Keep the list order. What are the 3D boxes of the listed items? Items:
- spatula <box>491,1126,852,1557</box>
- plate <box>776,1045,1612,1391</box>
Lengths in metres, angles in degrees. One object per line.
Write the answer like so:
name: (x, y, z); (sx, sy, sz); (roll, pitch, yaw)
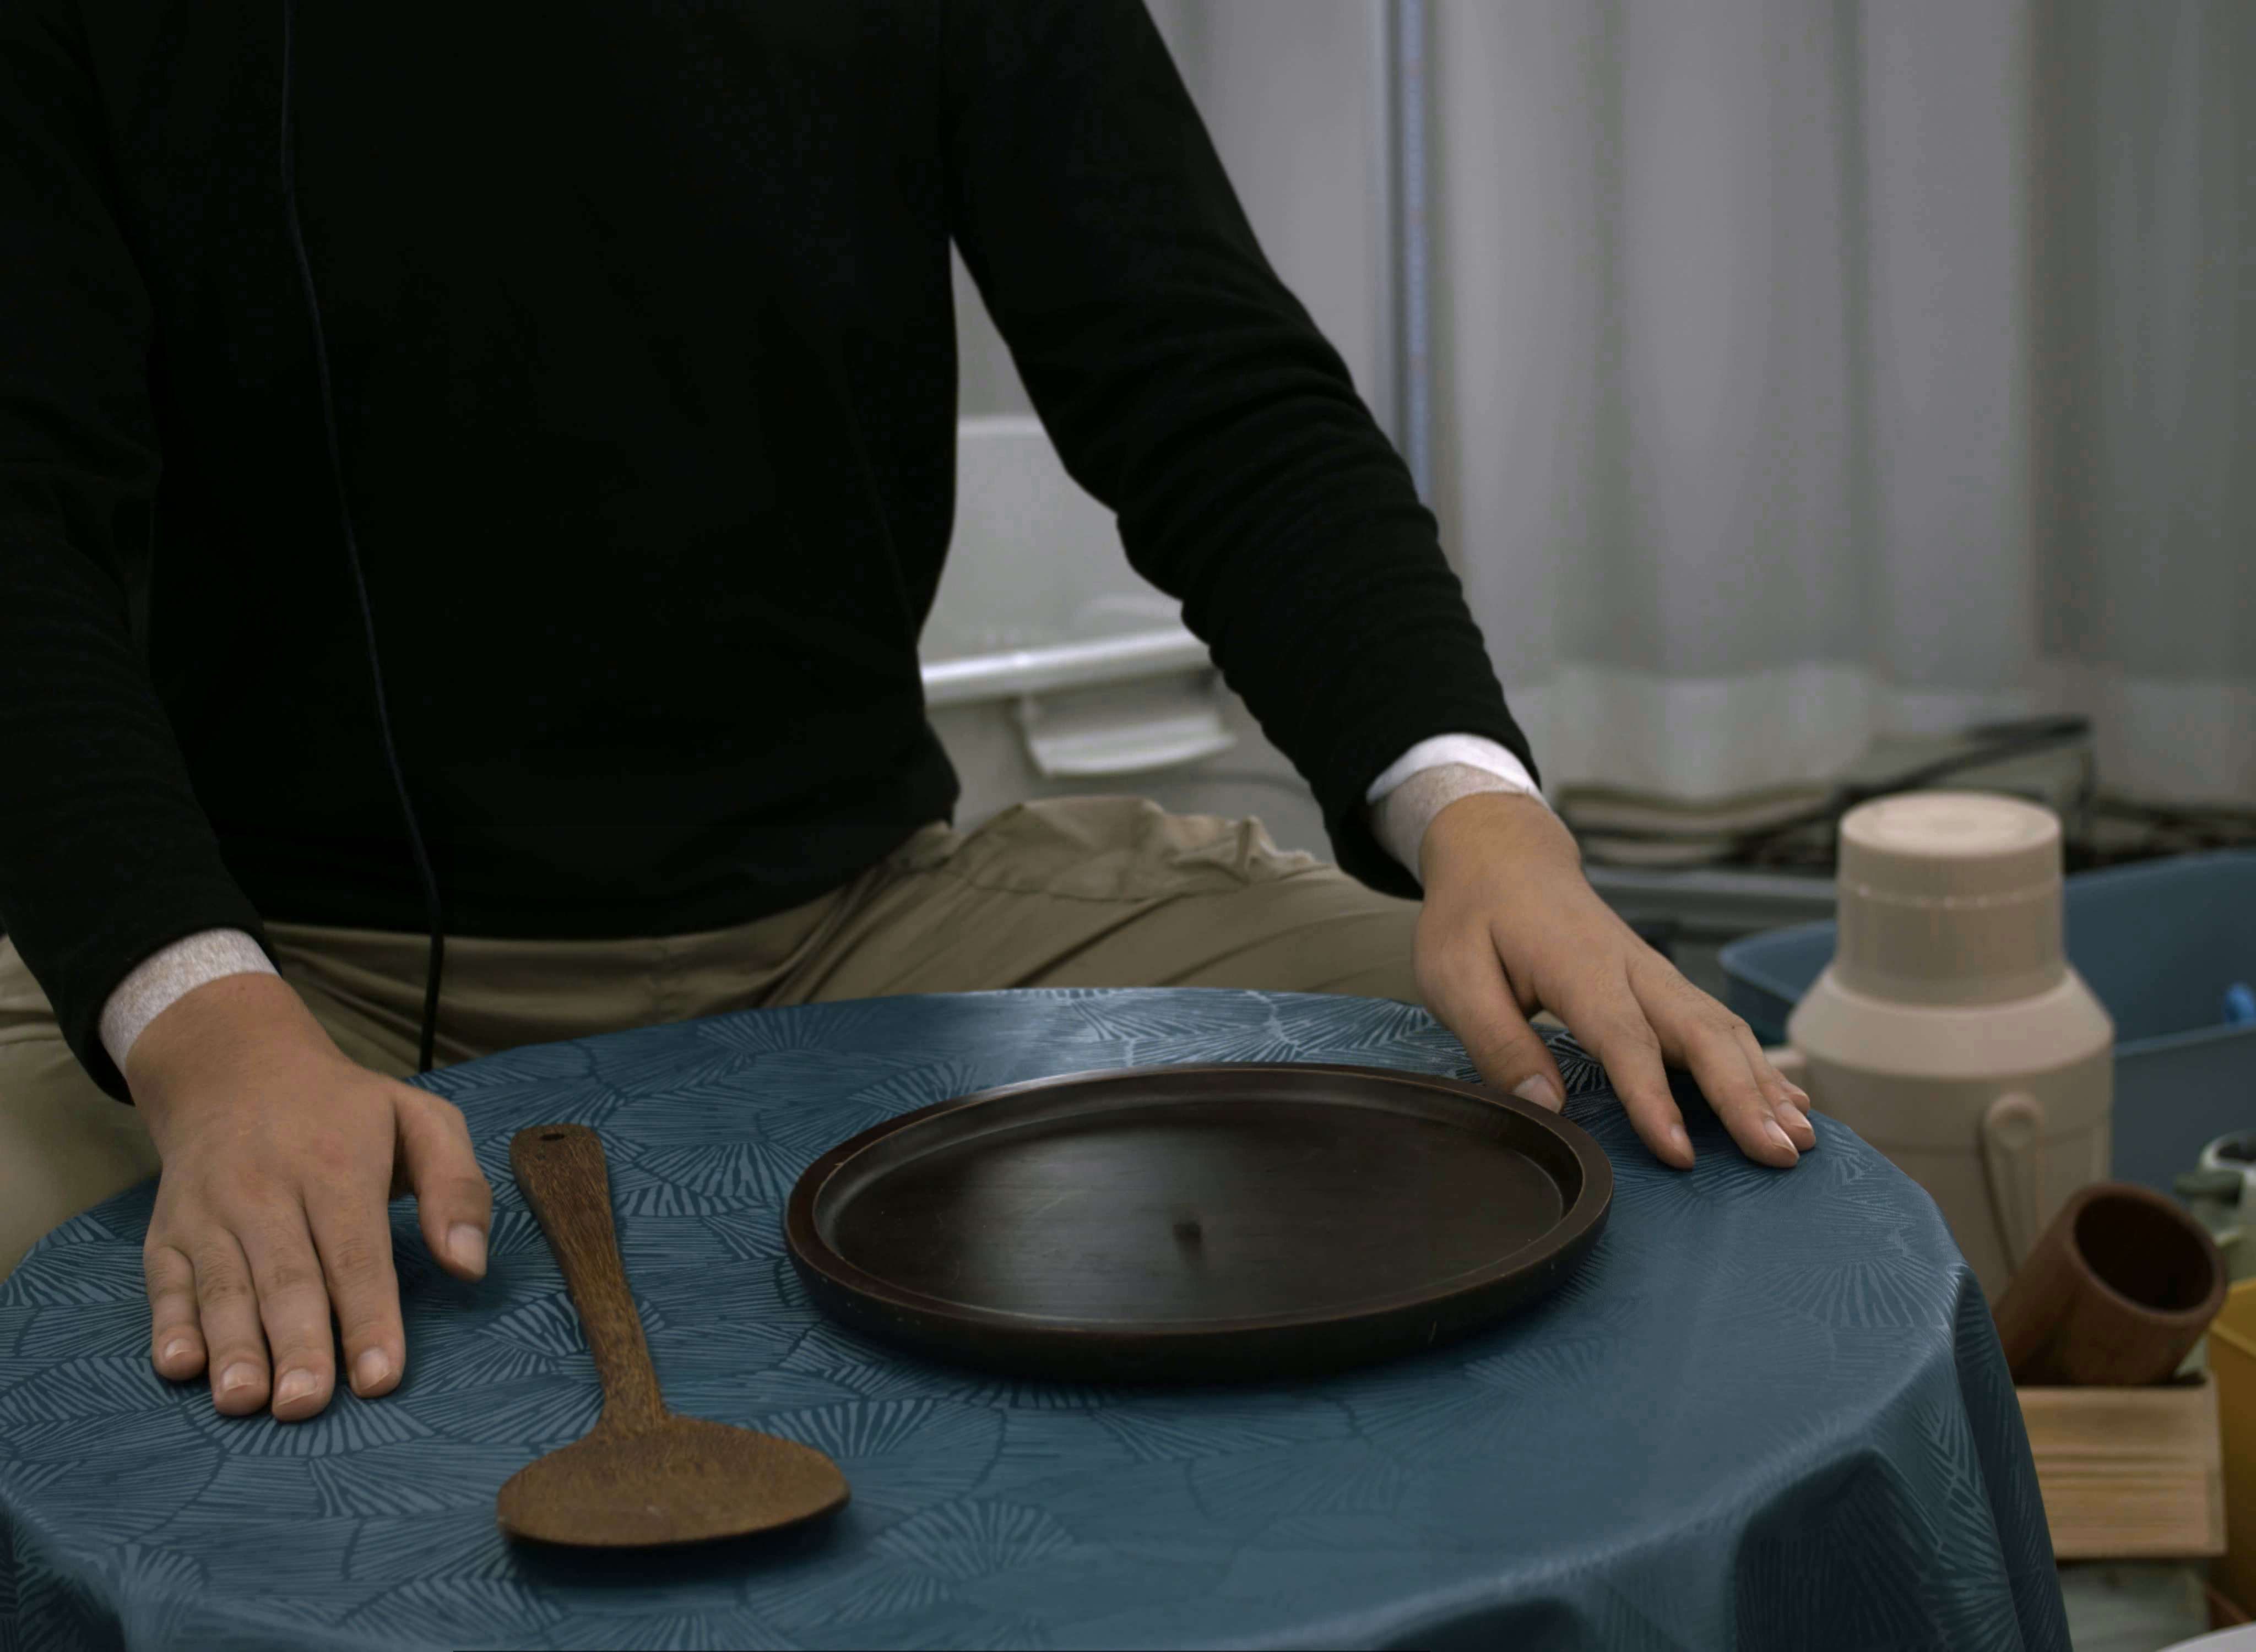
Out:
spatula: (-0.153, 0.144, 1.605); (0.095, 0.016, 0.389); (-5, 15, -11)
plate: (0.020, 0.118, 1.650); (0.254, 0.029, 0.256); (-4, 15, 1)
